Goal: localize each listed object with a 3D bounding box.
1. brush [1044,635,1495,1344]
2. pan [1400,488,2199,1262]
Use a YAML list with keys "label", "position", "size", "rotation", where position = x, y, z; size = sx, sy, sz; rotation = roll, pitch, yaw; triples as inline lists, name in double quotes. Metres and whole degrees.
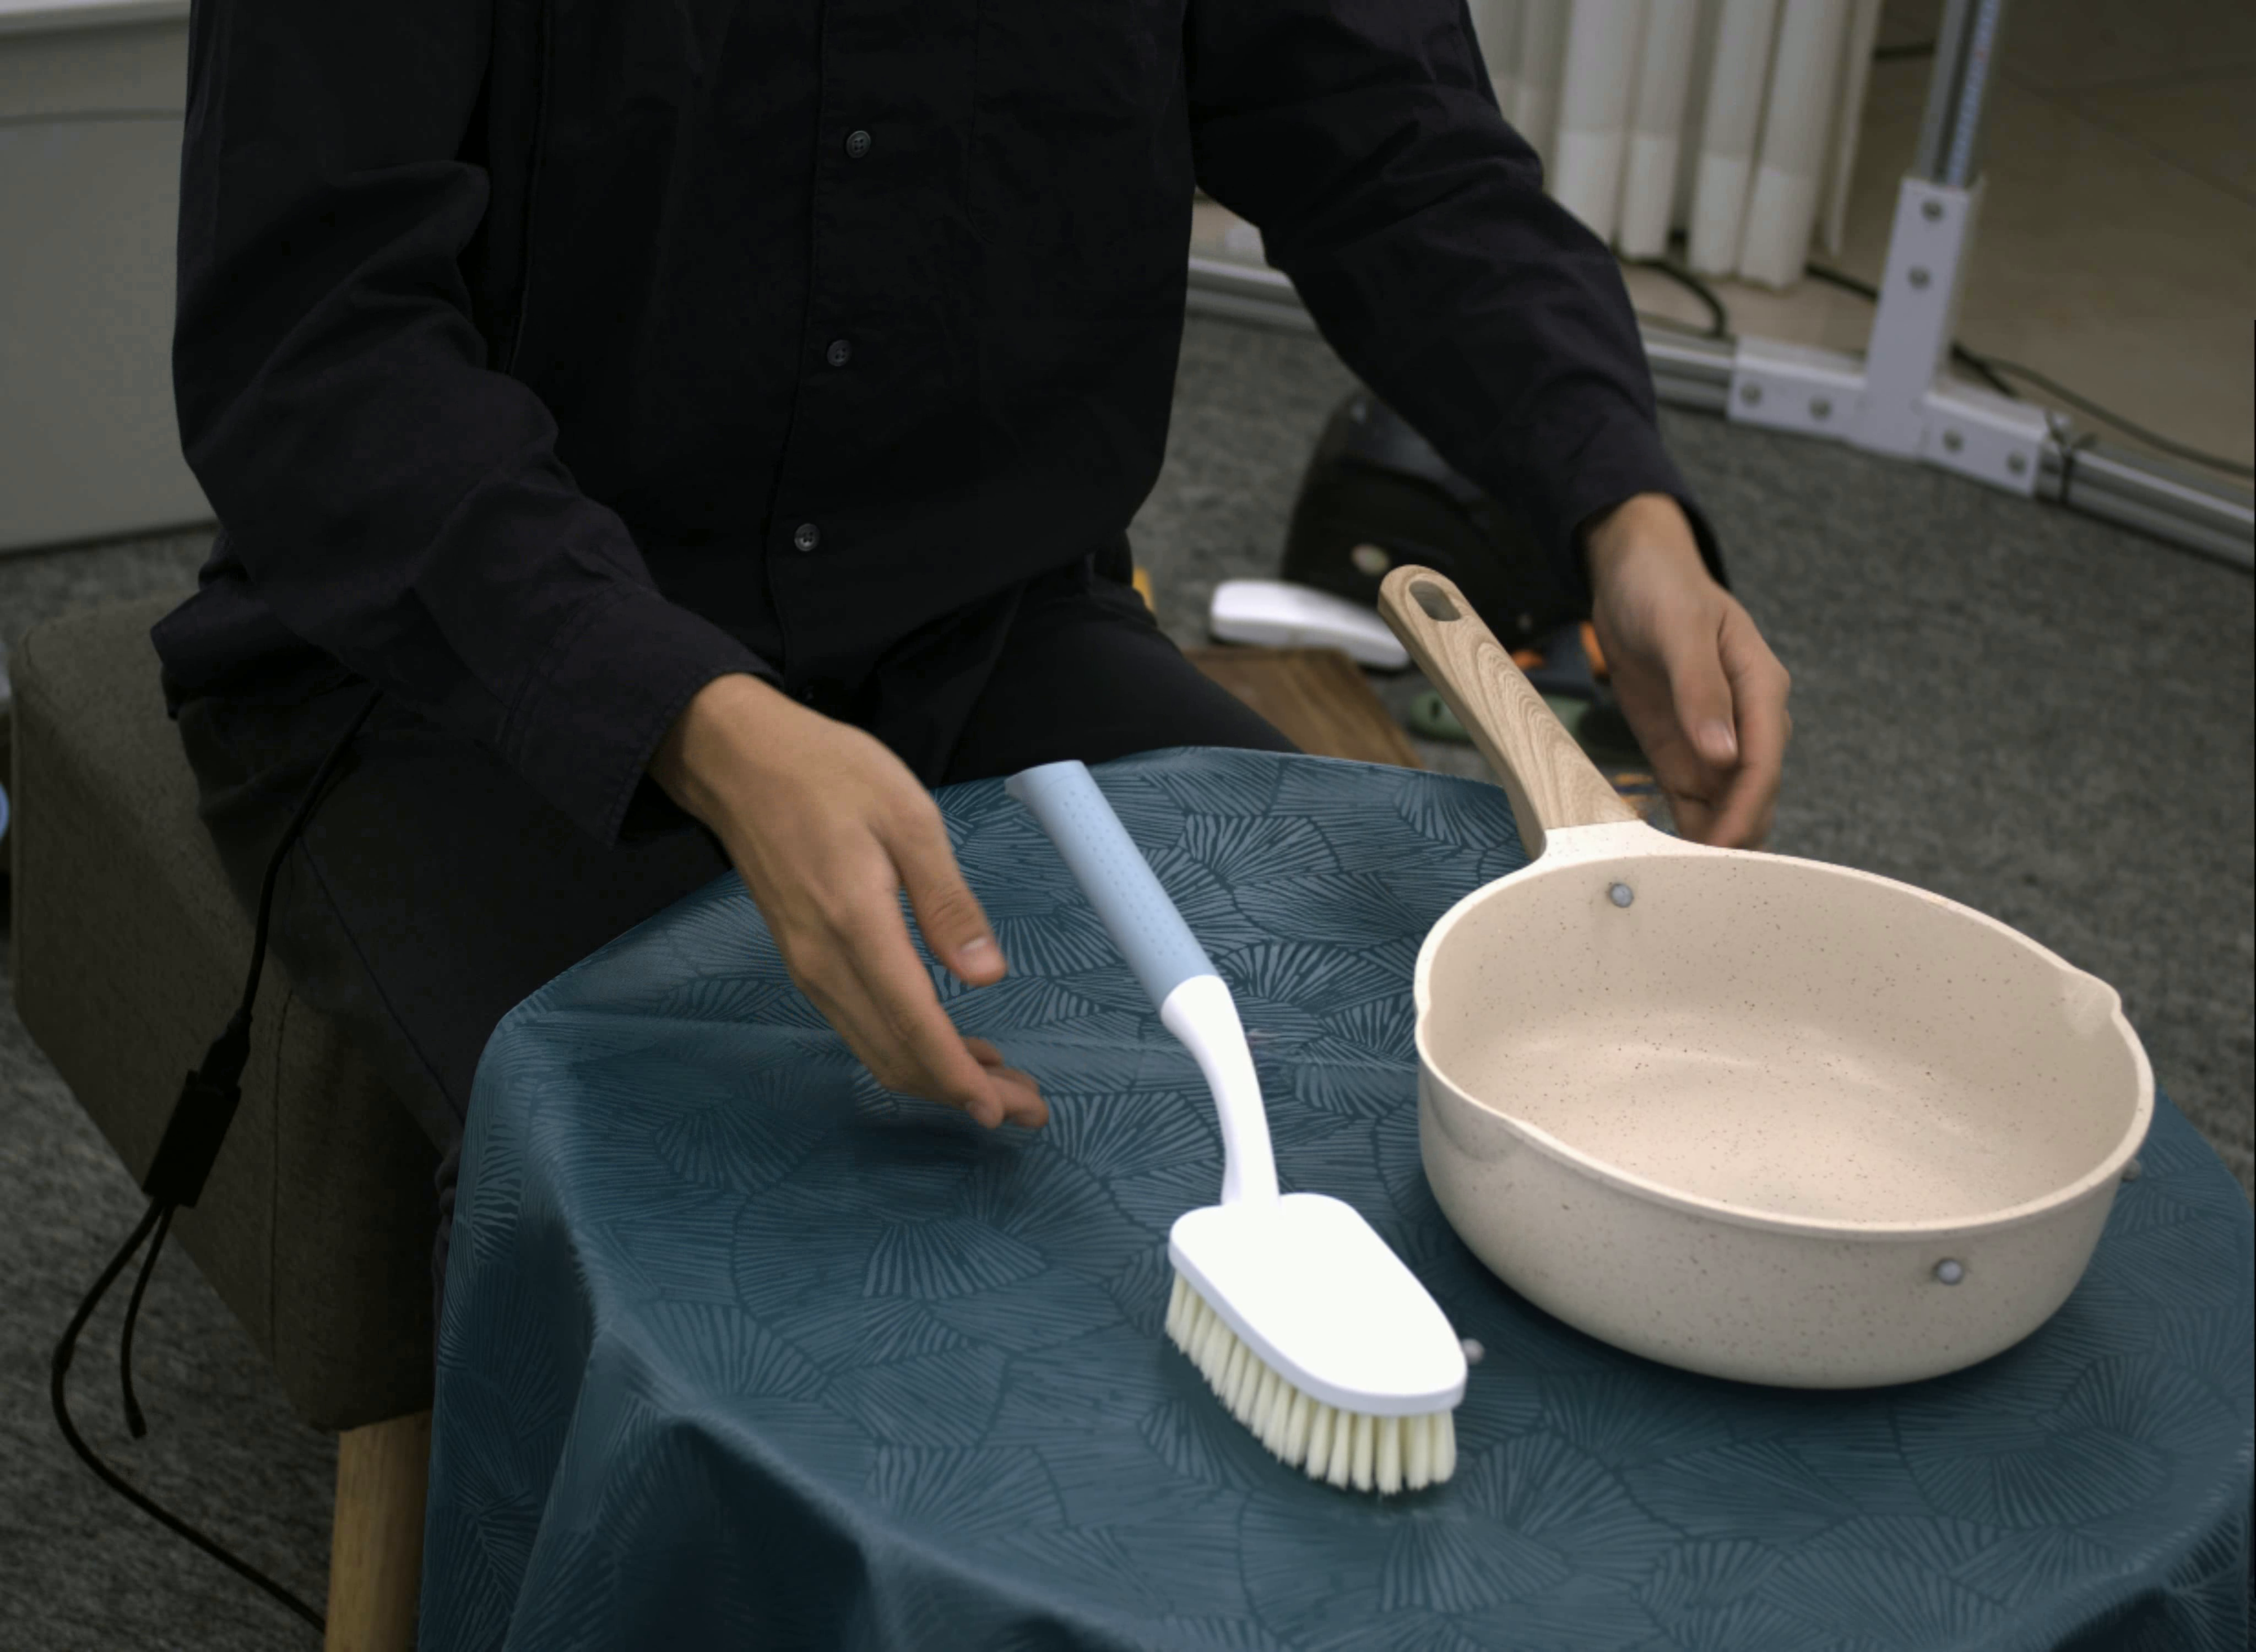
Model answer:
- label: "brush"
  position: [0.040, 0.062, 1.784]
  size: [0.082, 0.084, 0.328]
  rotation: [32, 19, -44]
- label: "pan"
  position: [0.199, 0.015, 1.896]
  size: [0.262, 0.101, 0.439]
  rotation: [-6, 30, -23]
